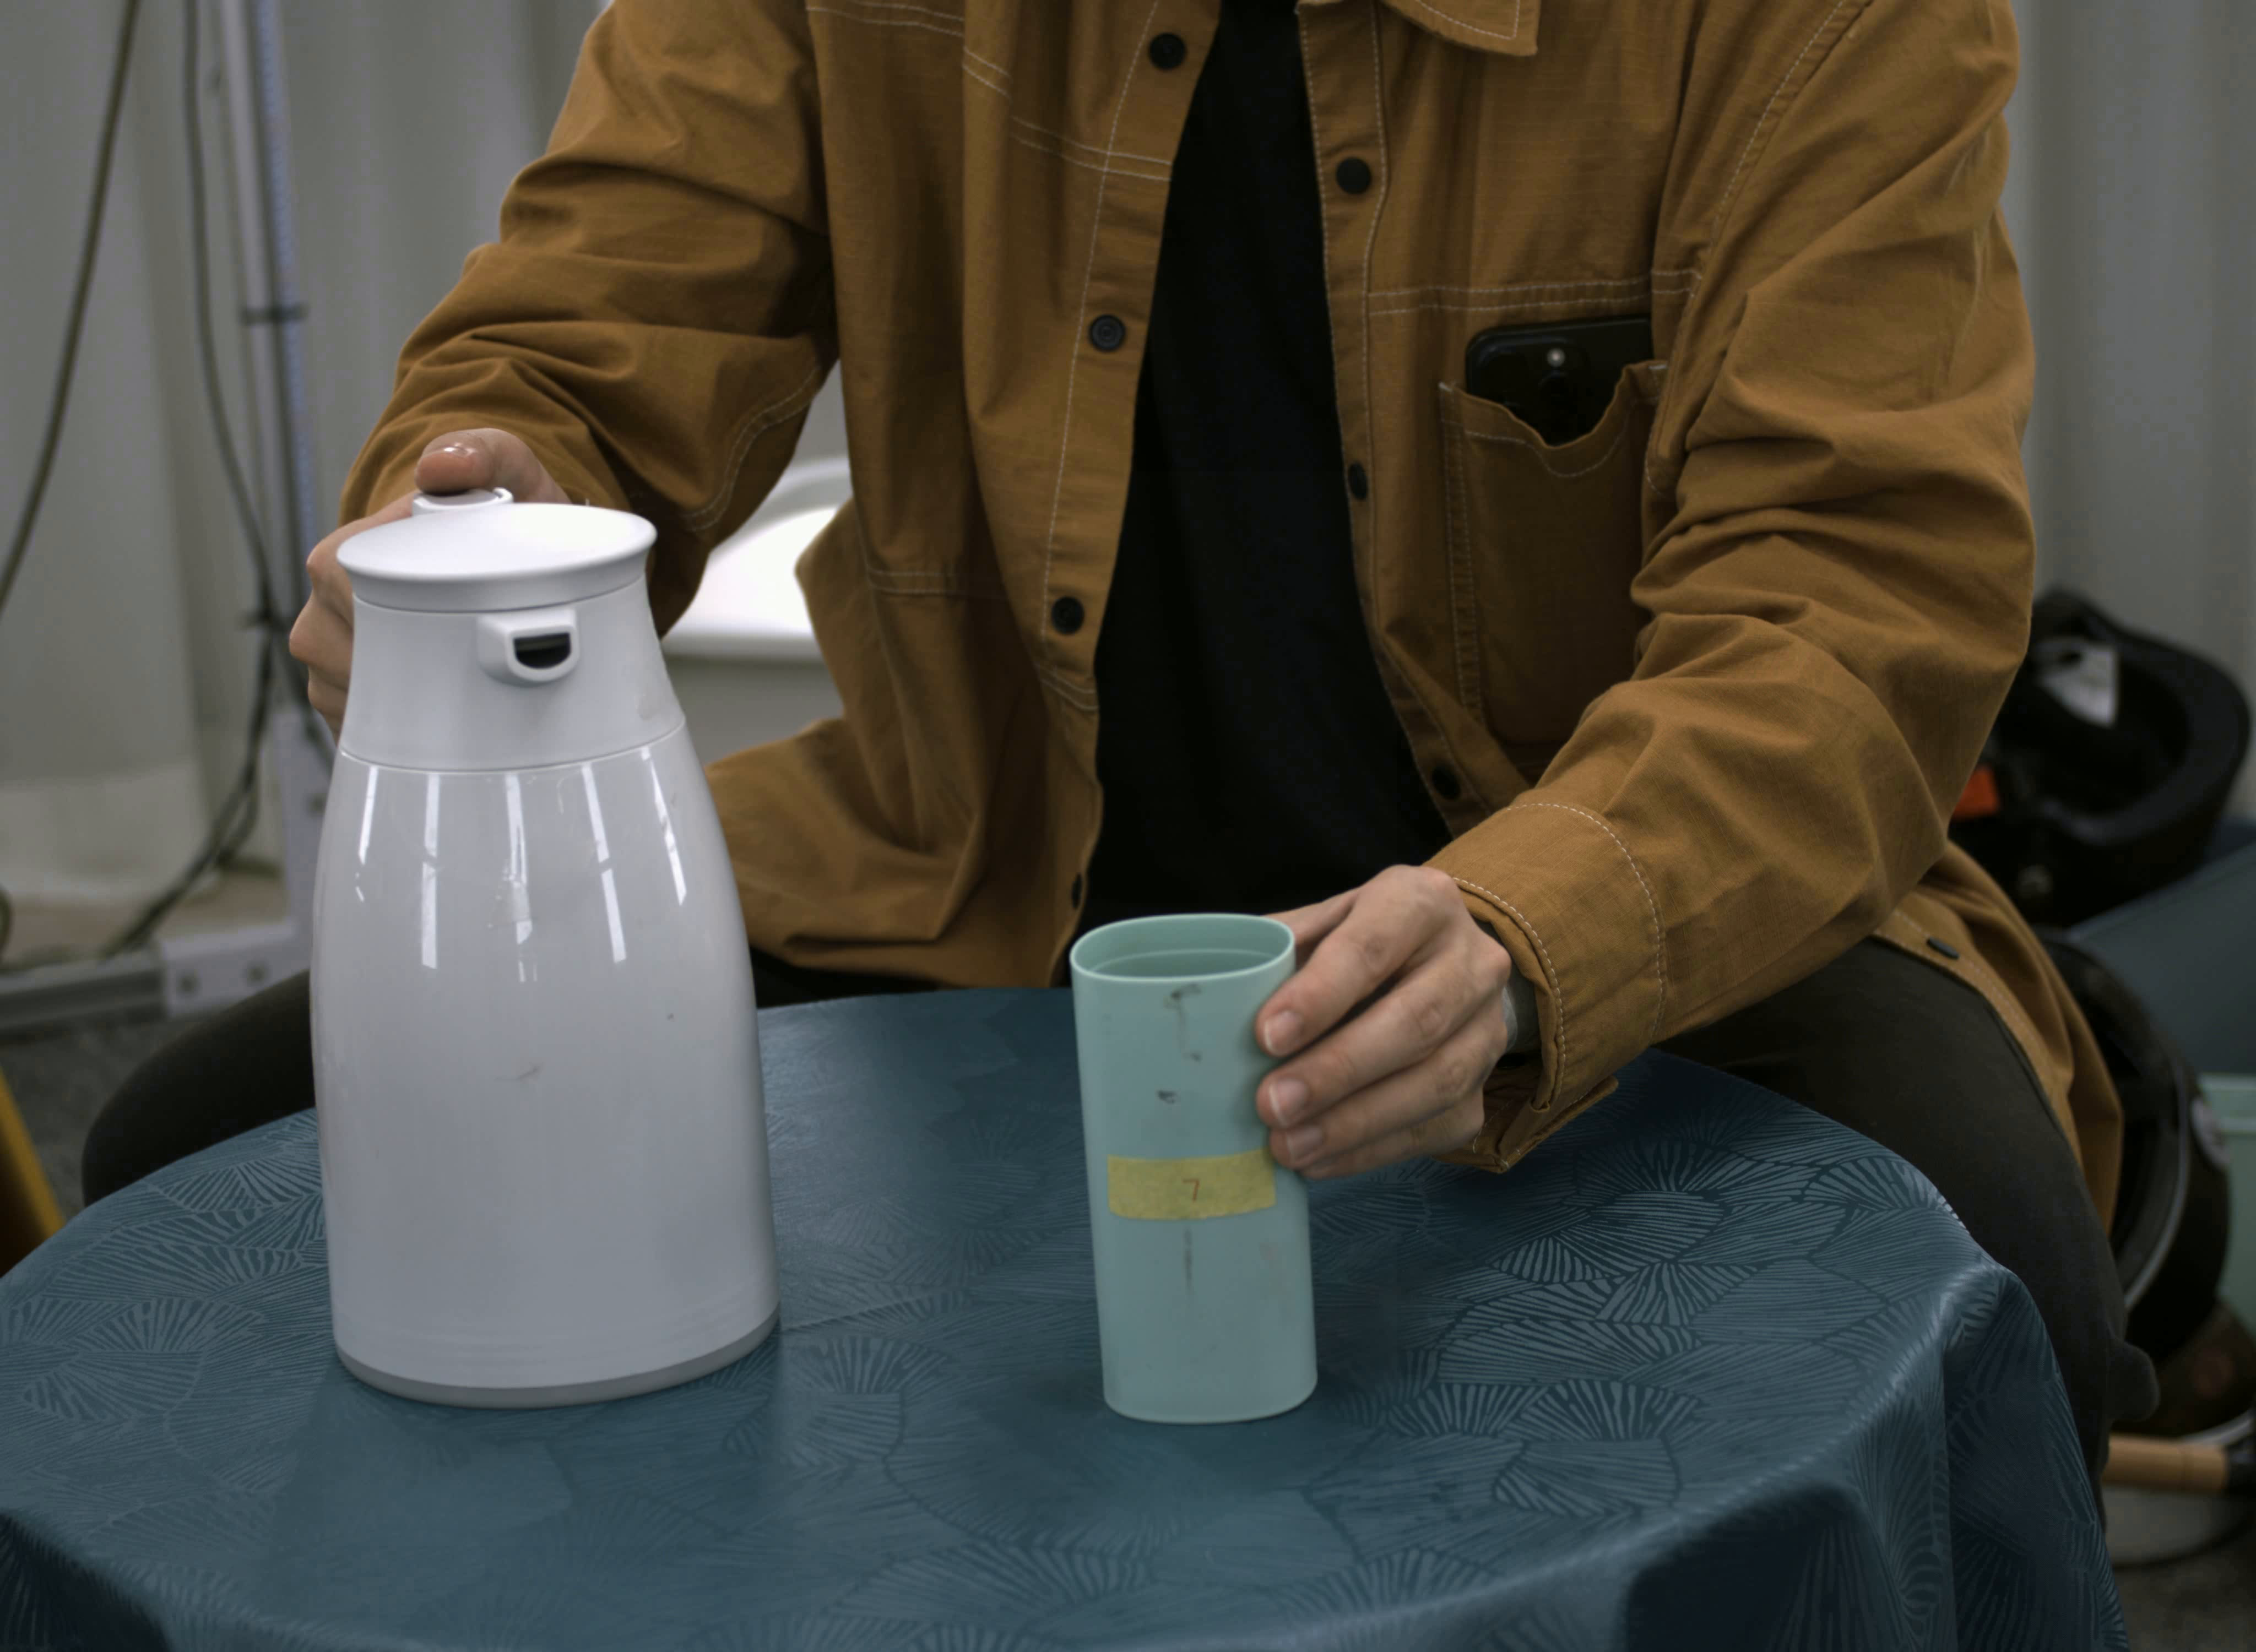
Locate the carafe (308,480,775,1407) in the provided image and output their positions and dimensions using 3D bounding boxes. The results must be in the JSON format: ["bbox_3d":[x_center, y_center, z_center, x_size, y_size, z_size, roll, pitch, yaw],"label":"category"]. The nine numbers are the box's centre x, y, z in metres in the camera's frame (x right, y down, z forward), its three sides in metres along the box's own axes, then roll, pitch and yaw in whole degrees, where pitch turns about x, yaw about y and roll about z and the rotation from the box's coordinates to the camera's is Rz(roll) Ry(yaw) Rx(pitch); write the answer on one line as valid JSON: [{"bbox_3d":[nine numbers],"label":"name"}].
[{"bbox_3d":[-0.182,0.026,1.605,0.132,0.248,0.169,-7,14,-17],"label":"carafe"}]

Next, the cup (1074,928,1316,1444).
[{"bbox_3d":[0.020,0.099,1.528,0.066,0.132,0.067,-3,14,0],"label":"cup"}]
